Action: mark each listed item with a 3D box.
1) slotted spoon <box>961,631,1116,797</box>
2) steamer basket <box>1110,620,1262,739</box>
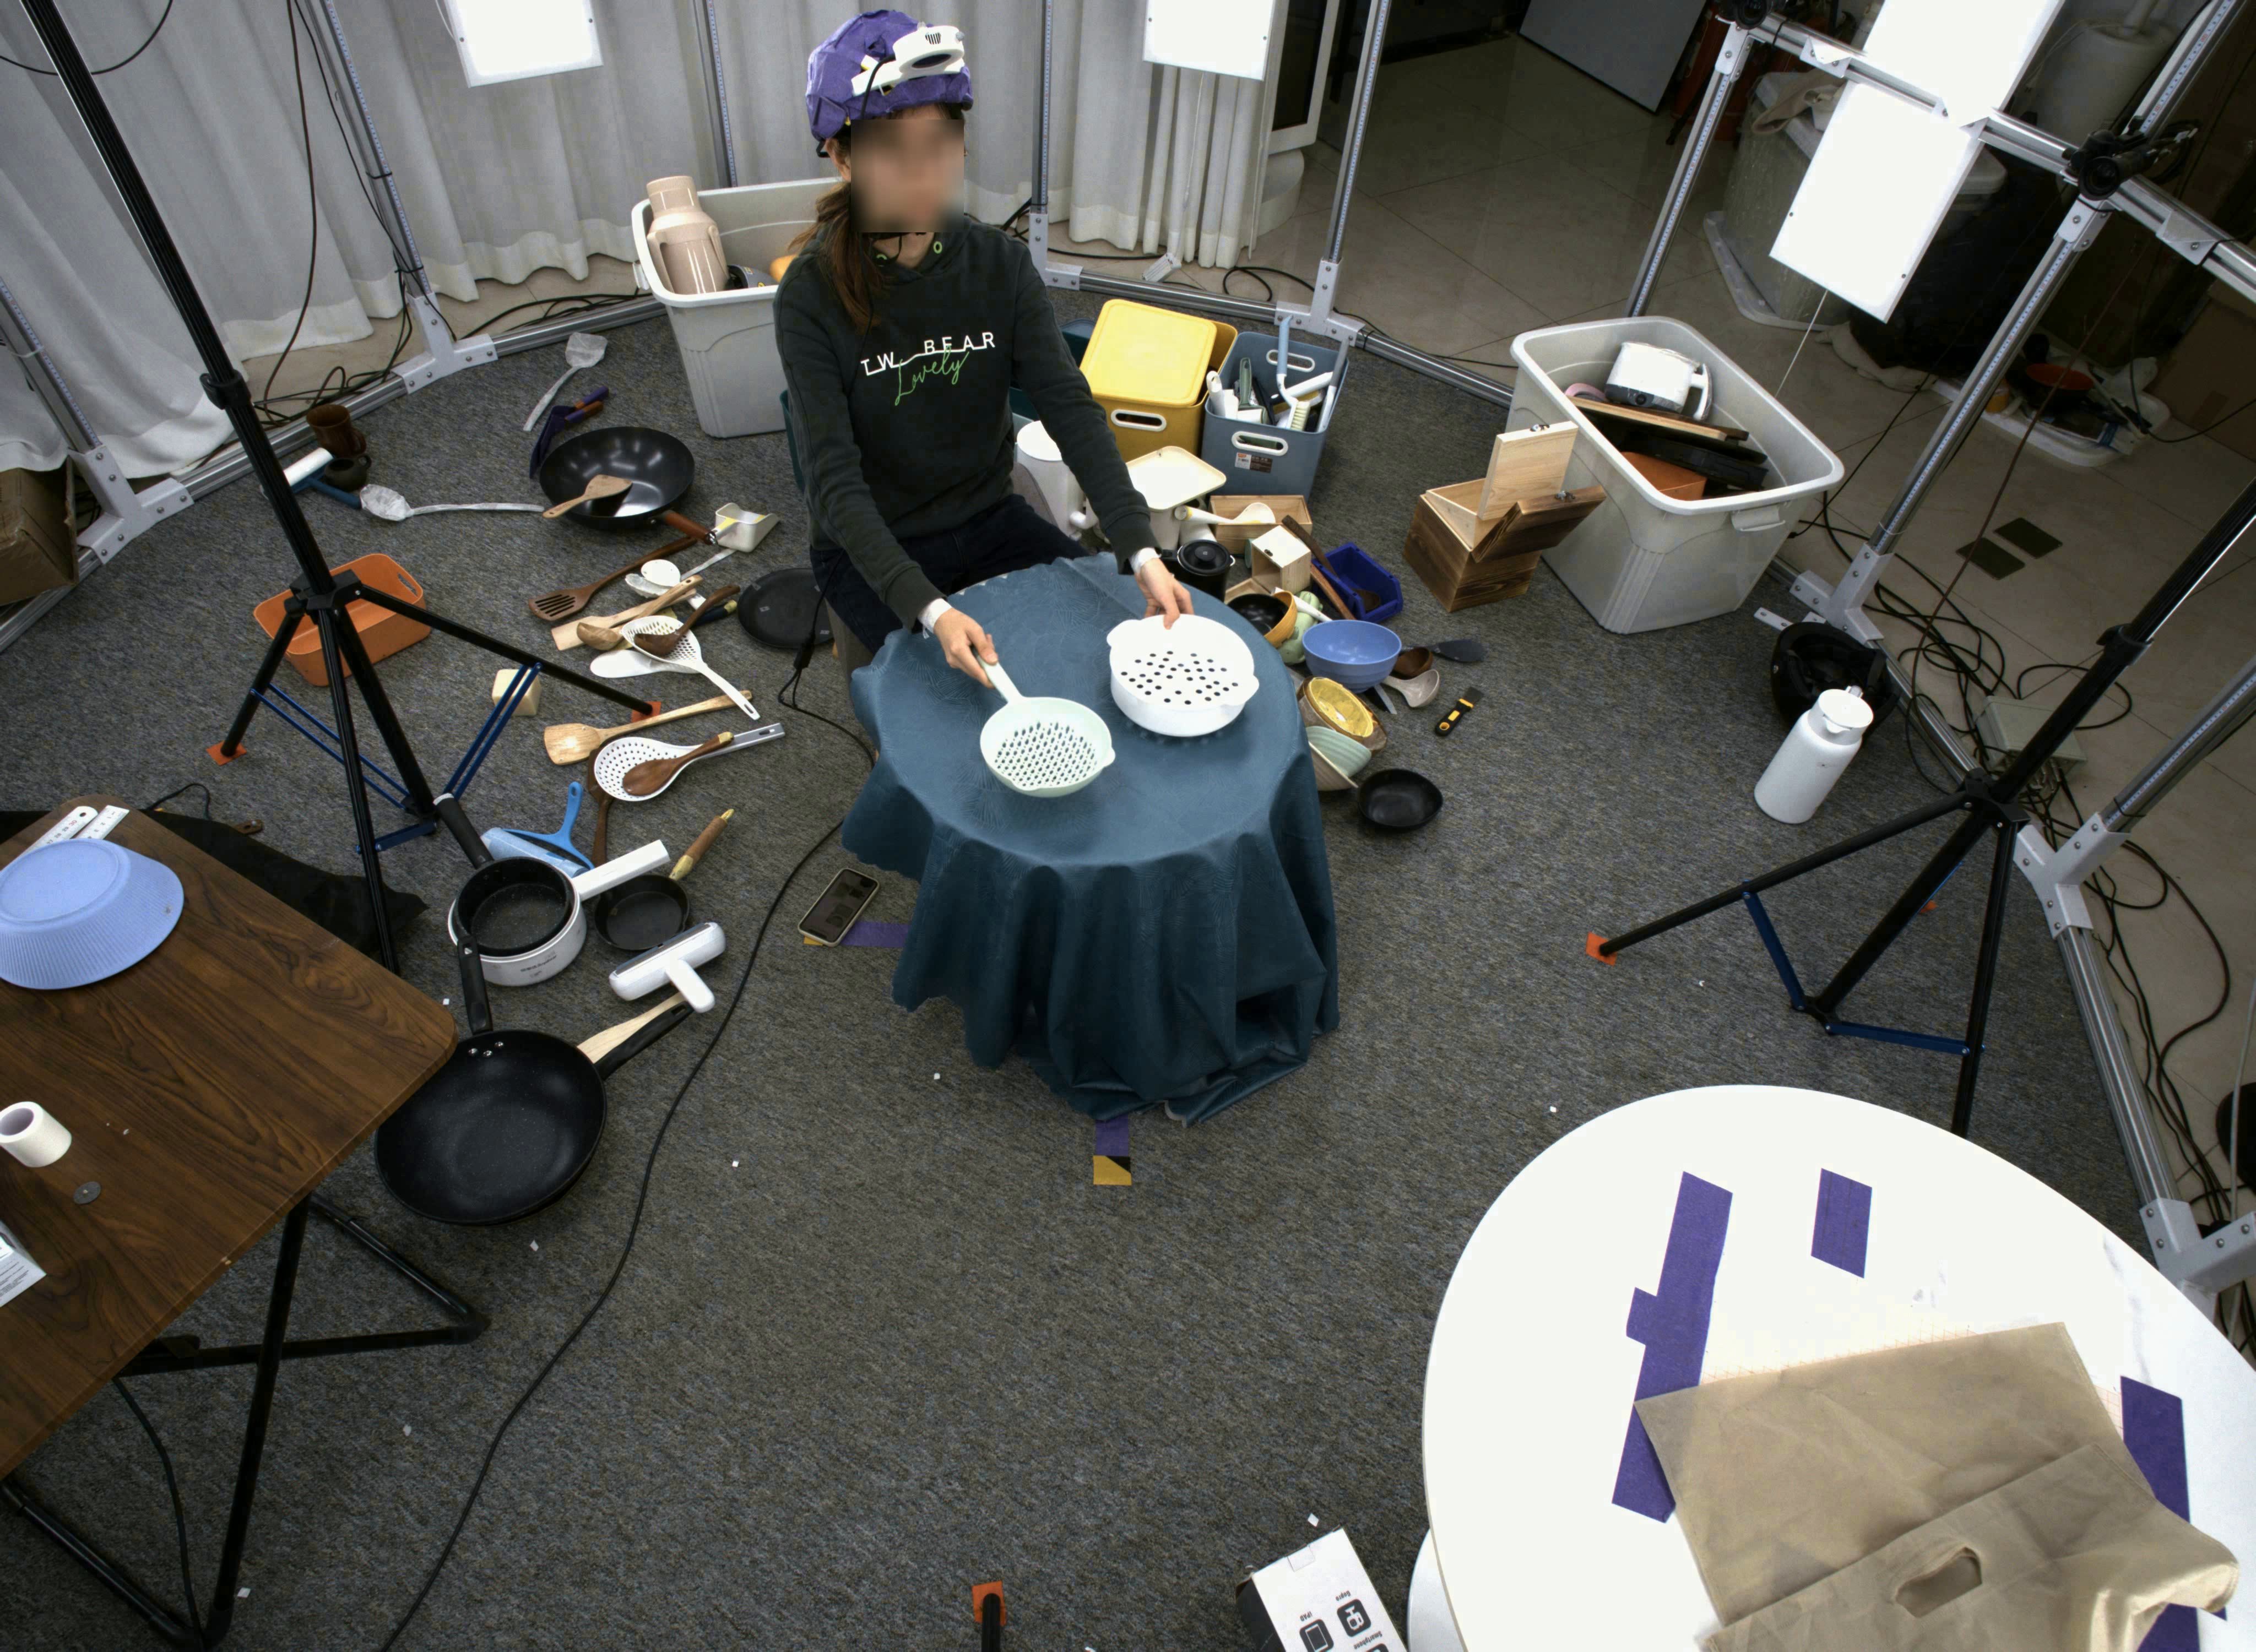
[{"bbox_3d":[-0.151,-0.166,1.735,0.169,0.073,0.366,-19,56,-20],"label":"slotted spoon"},{"bbox_3d":[0.078,-0.208,1.822,0.233,0.067,0.204,28,49,21],"label":"steamer basket"}]
